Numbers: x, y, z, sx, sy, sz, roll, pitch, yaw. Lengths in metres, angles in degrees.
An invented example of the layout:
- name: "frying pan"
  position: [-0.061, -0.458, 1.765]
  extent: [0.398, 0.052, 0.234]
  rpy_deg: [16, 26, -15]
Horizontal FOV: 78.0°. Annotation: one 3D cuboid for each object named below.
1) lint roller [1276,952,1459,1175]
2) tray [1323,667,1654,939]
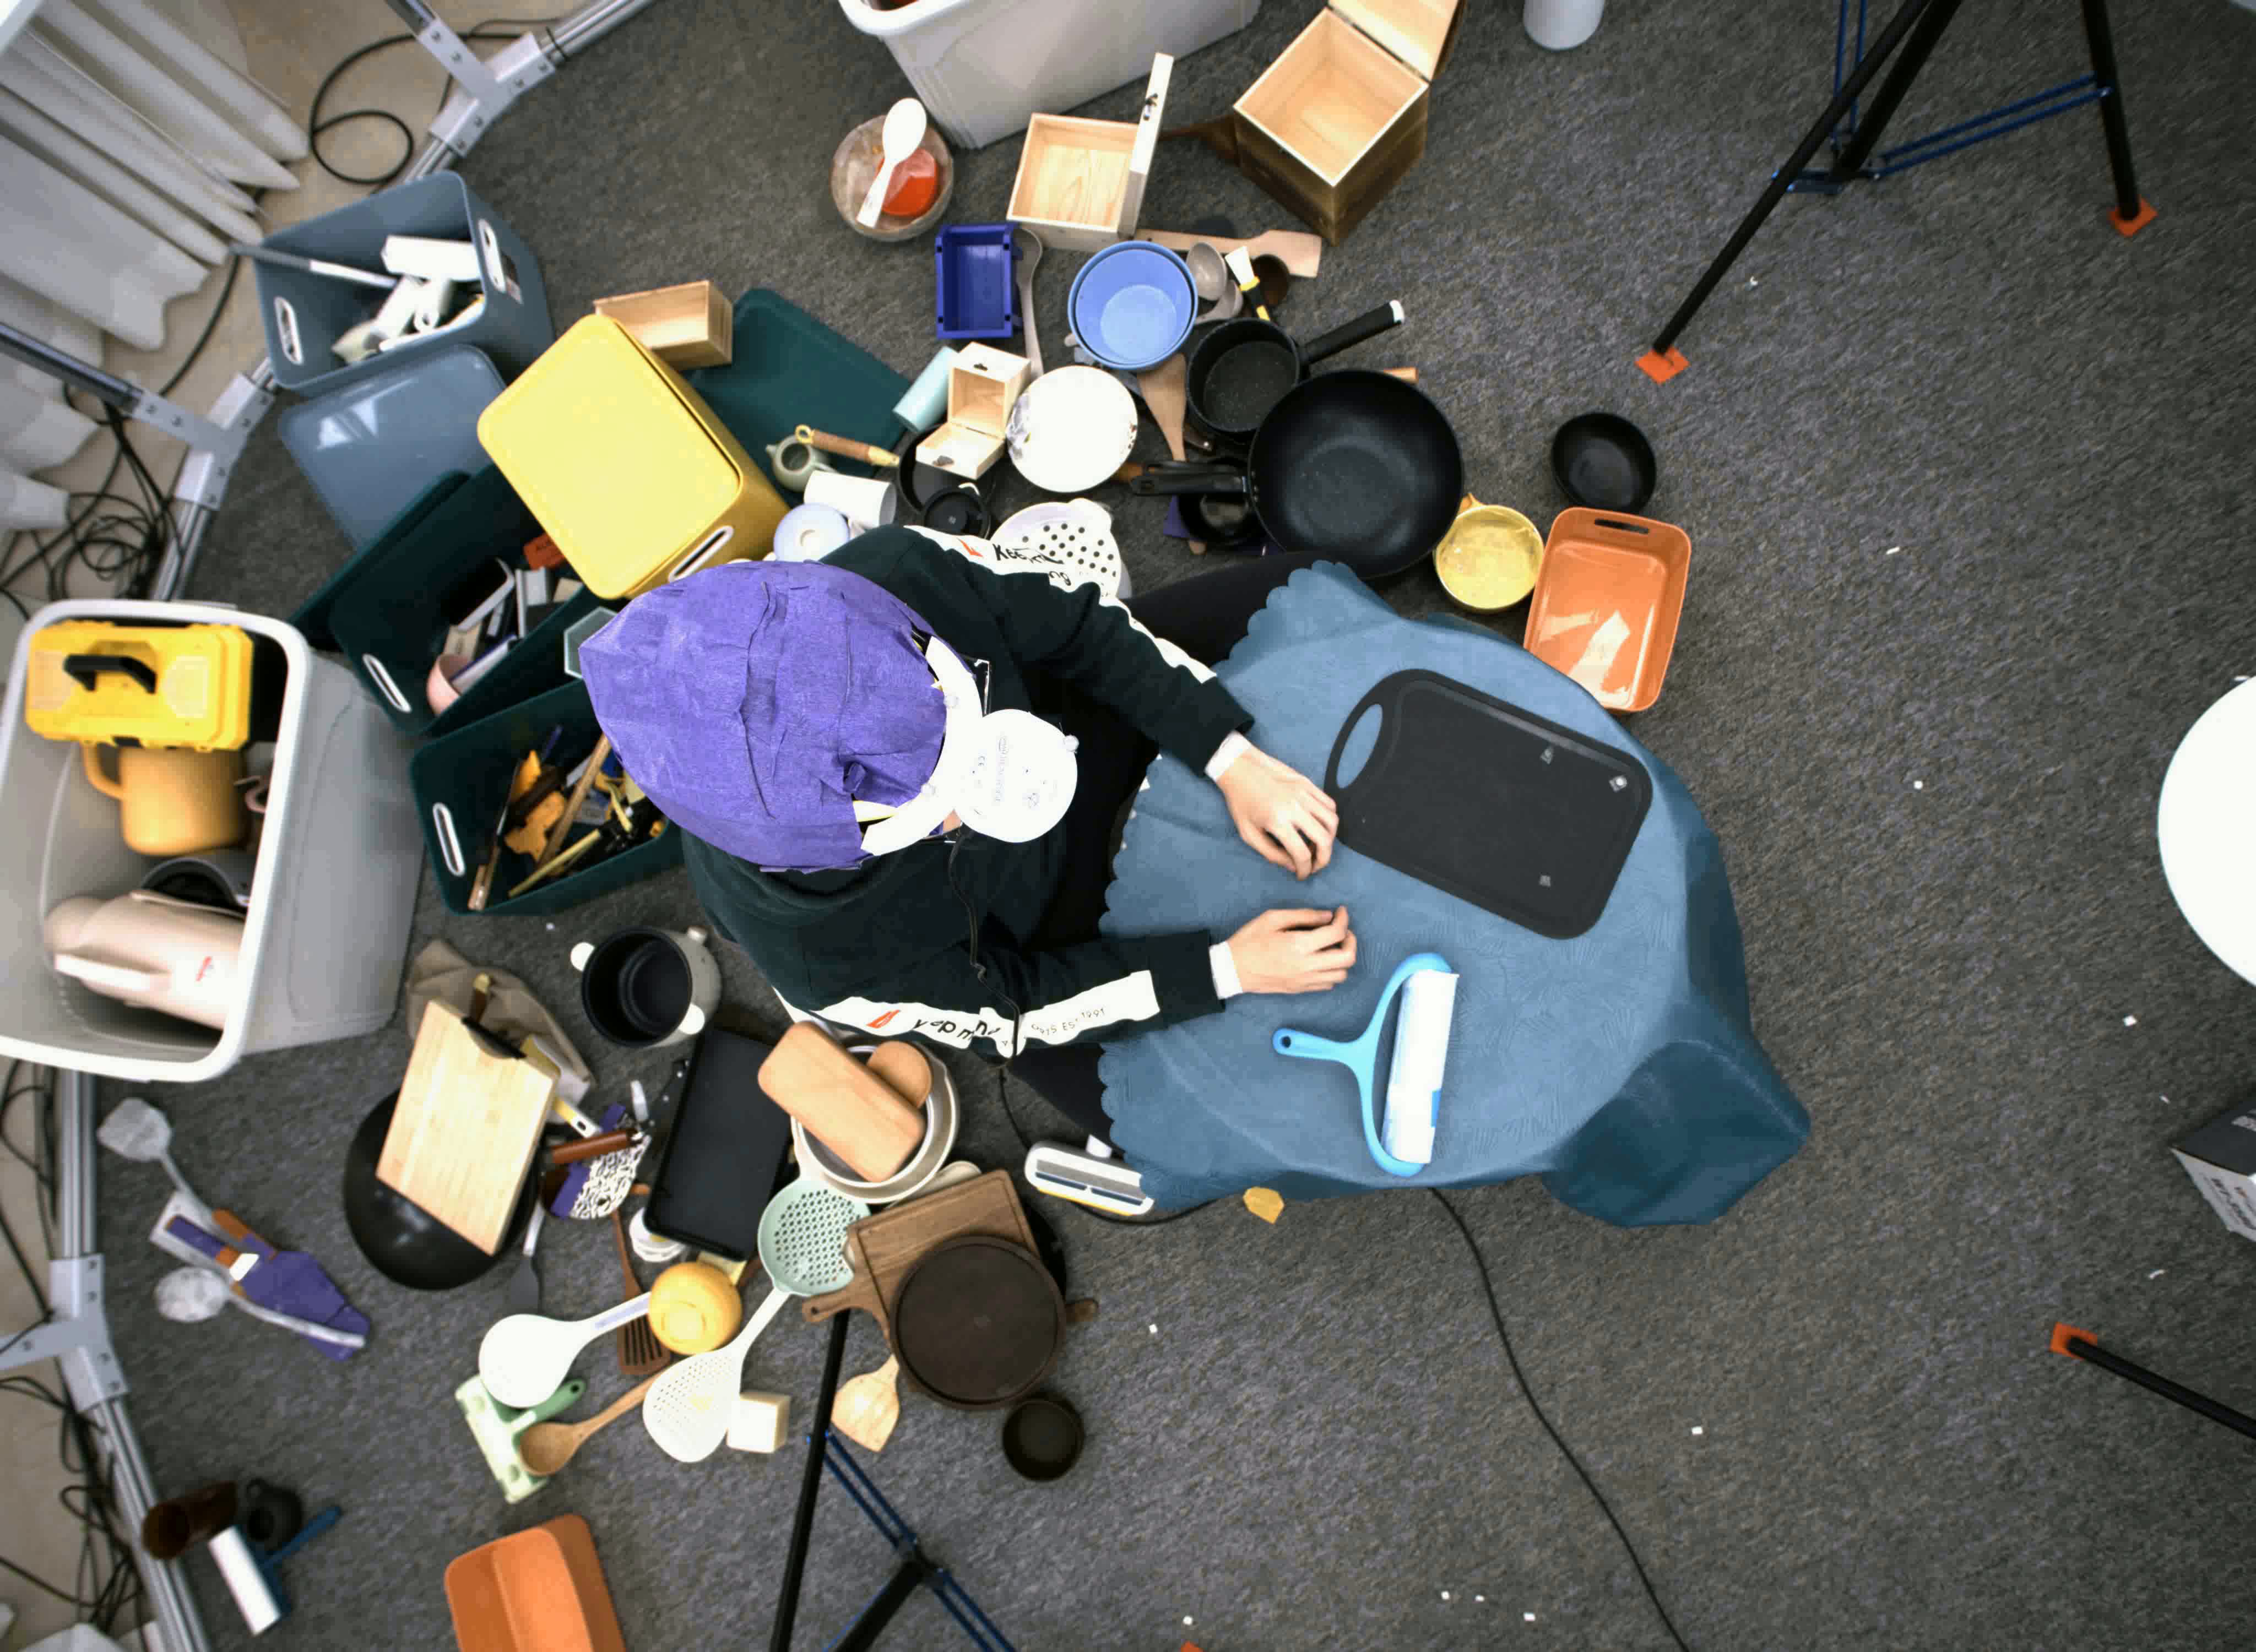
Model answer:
- name: "lint roller"
  position: [0.240, 0.235, 1.424]
  extent: [0.181, 0.068, 0.228]
  rpy_deg: [6, 90, 9]
- name: "tray"
  position: [0.368, -0.031, 1.439]
  extent: [0.325, 0.010, 0.211]
  rpy_deg: [25, 92, 11]
